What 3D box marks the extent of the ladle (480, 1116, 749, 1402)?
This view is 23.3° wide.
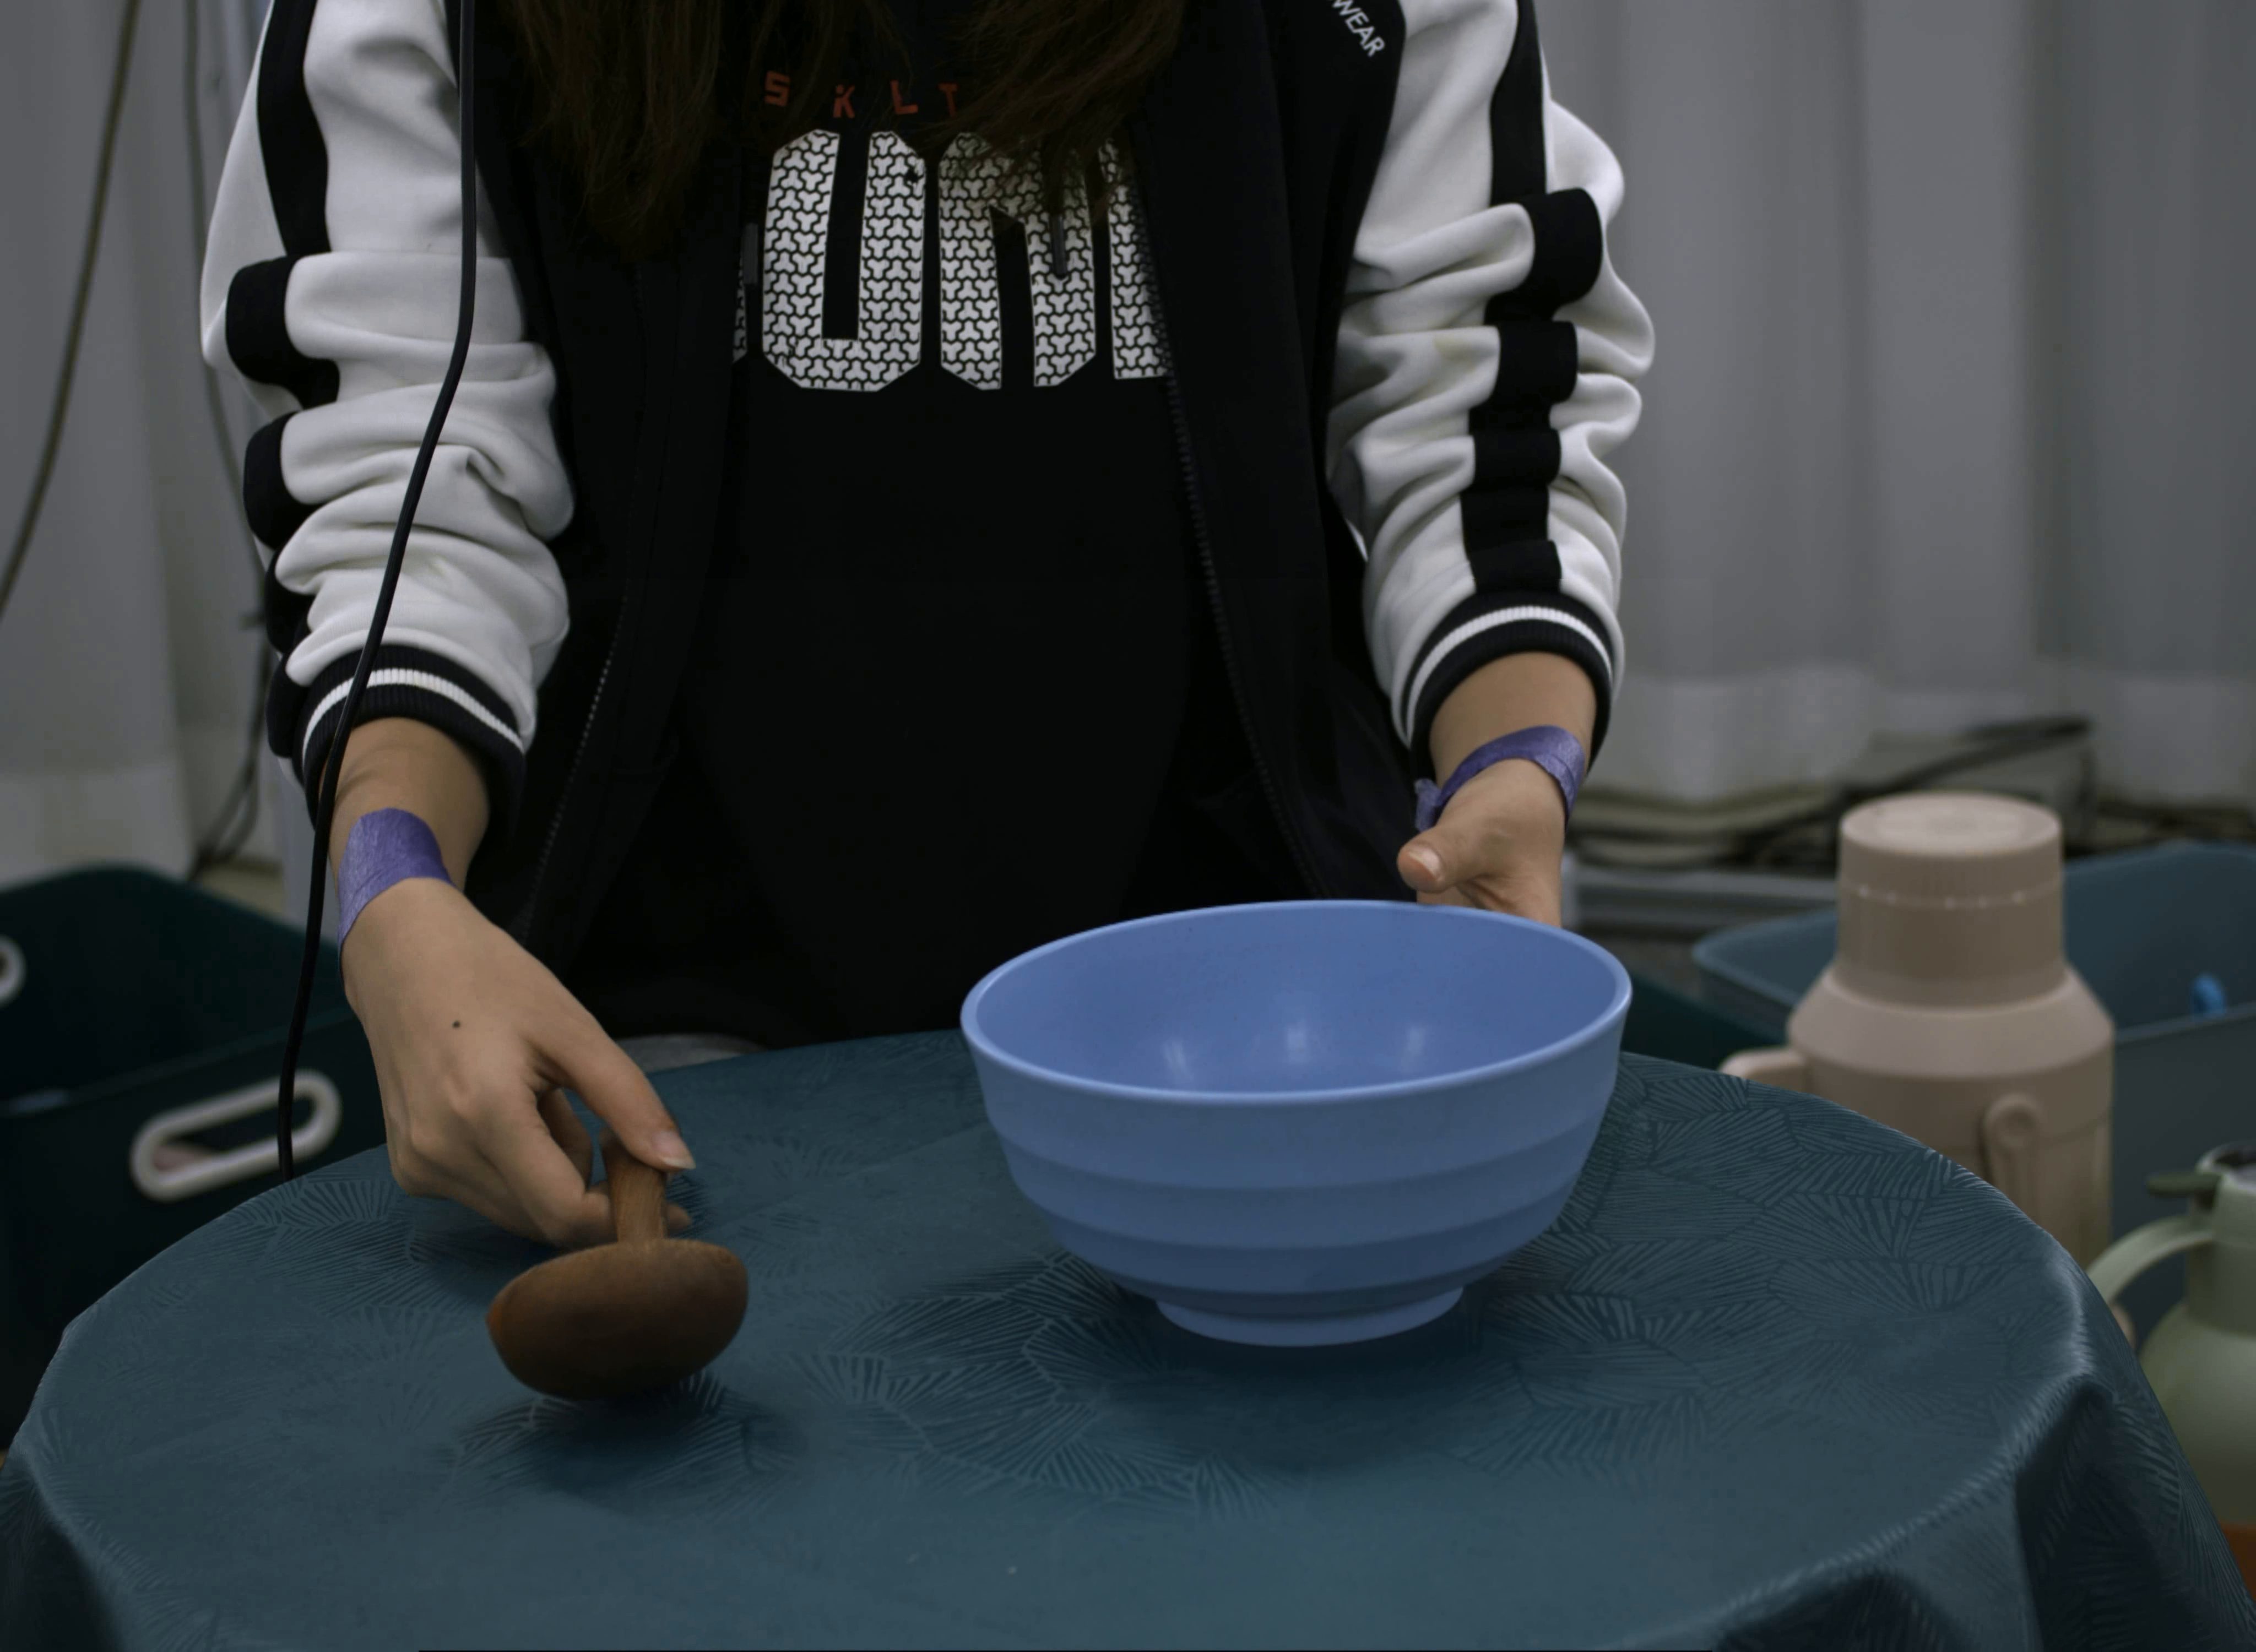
[{"bbox_3d":[-0.150,0.112,1.629,0.076,0.065,0.262,-10,16,-1],"label":"ladle"}]

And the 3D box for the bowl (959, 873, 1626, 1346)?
[{"bbox_3d":[0.053,0.091,1.611,0.196,0.095,0.198,-7,18,2],"label":"bowl"}]
